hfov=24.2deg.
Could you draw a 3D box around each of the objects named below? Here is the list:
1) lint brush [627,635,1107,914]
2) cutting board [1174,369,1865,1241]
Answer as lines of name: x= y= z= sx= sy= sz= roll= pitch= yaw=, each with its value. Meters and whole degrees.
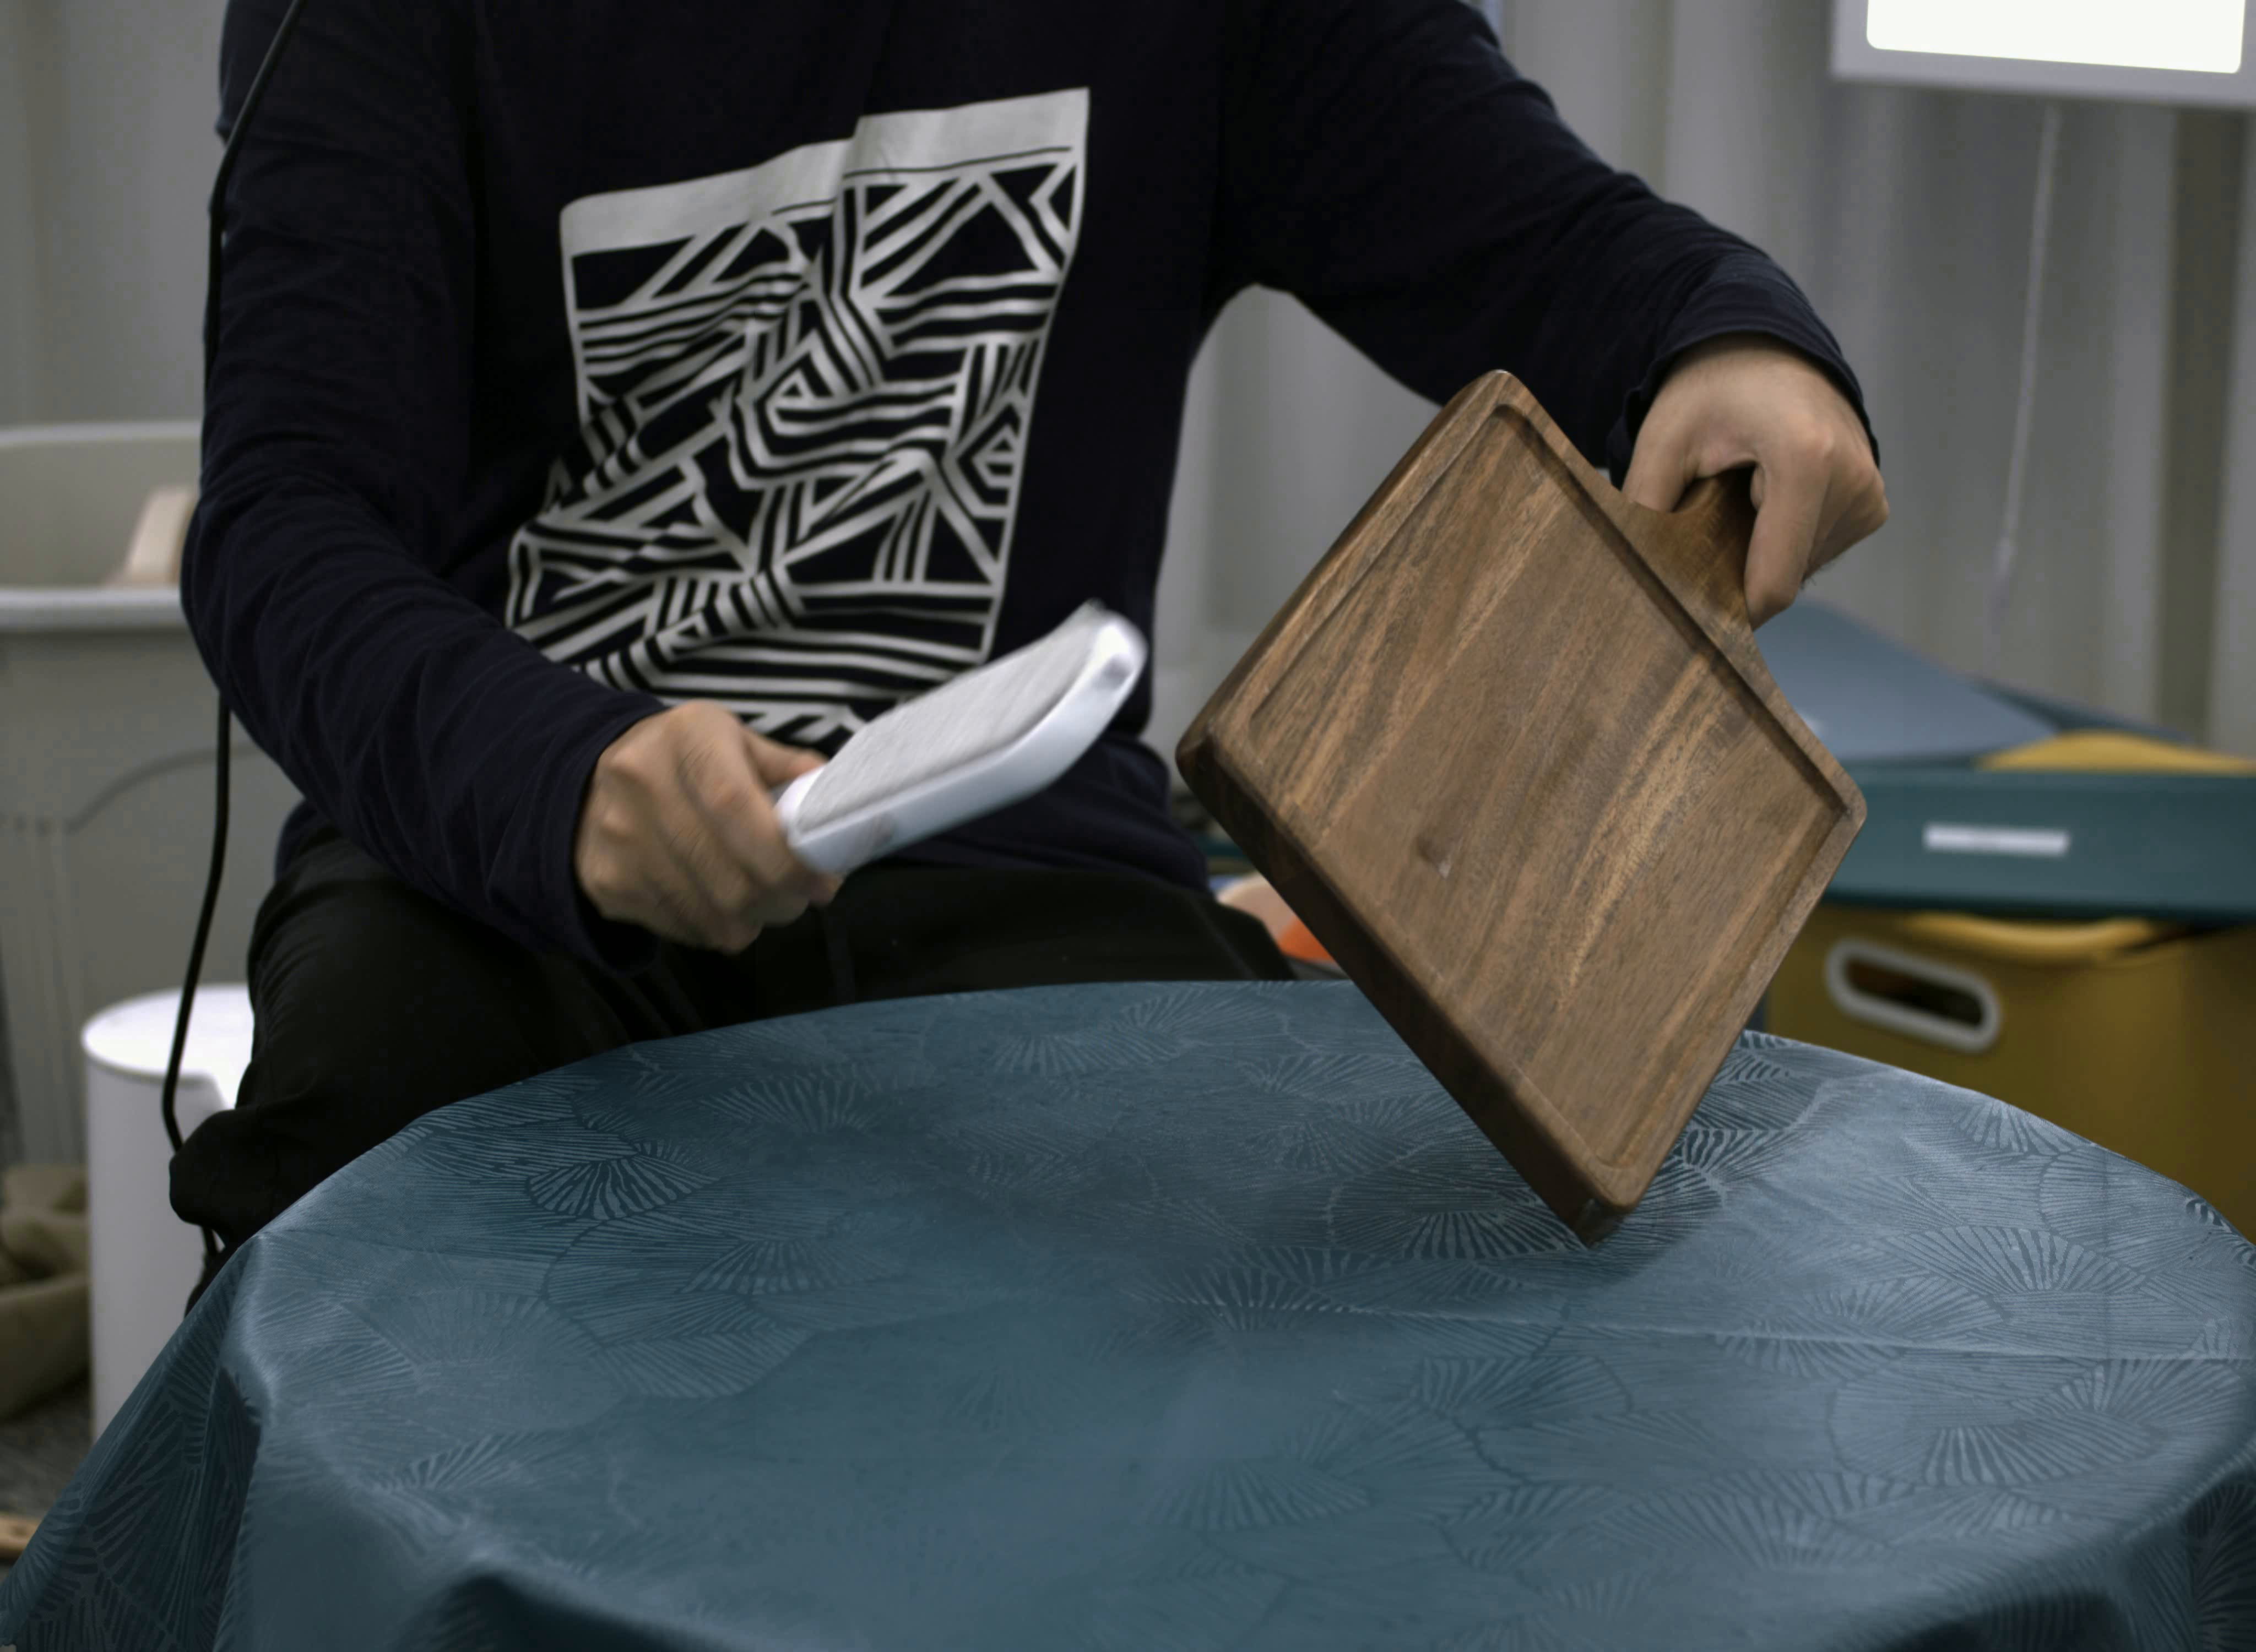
lint brush: x=-0.085 y=-0.009 z=1.586 sx=0.021 sy=0.060 sz=0.307 roll=37 pitch=-24 yaw=-17
cutting board: x=0.148 y=-0.037 z=1.674 sx=0.023 sy=0.202 sz=0.351 roll=-33 pitch=12 yaw=38
